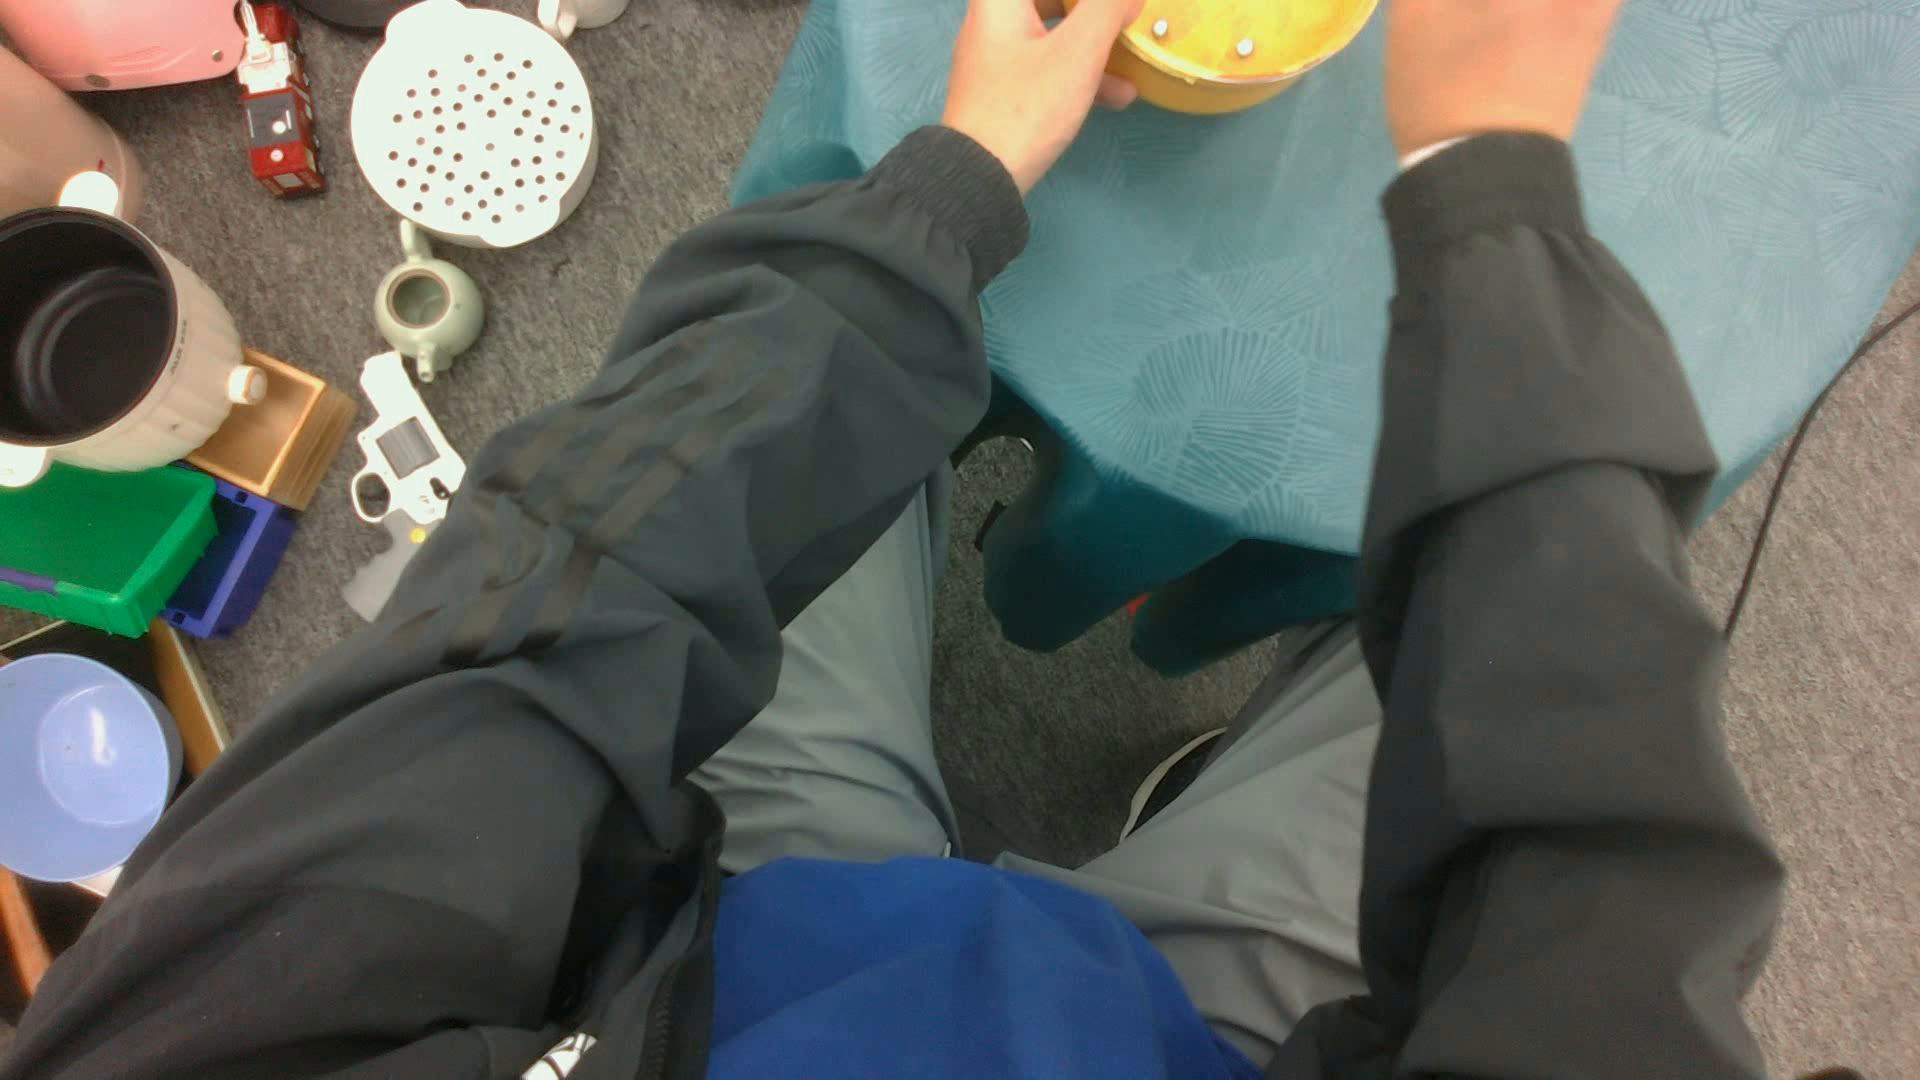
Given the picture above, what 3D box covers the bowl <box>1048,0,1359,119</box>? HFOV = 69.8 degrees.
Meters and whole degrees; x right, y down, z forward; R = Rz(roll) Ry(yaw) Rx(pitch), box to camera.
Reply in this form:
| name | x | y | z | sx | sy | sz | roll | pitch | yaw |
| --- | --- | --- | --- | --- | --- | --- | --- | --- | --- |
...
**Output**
| name | x | y | z | sx | sy | sz | roll | pitch | yaw |
| --- | --- | --- | --- | --- | --- | --- | --- | --- | --- |
| bowl | 0.100 | -0.284 | 0.666 | 0.179 | 0.074 | 0.153 | 7 | 85 | -9 |
